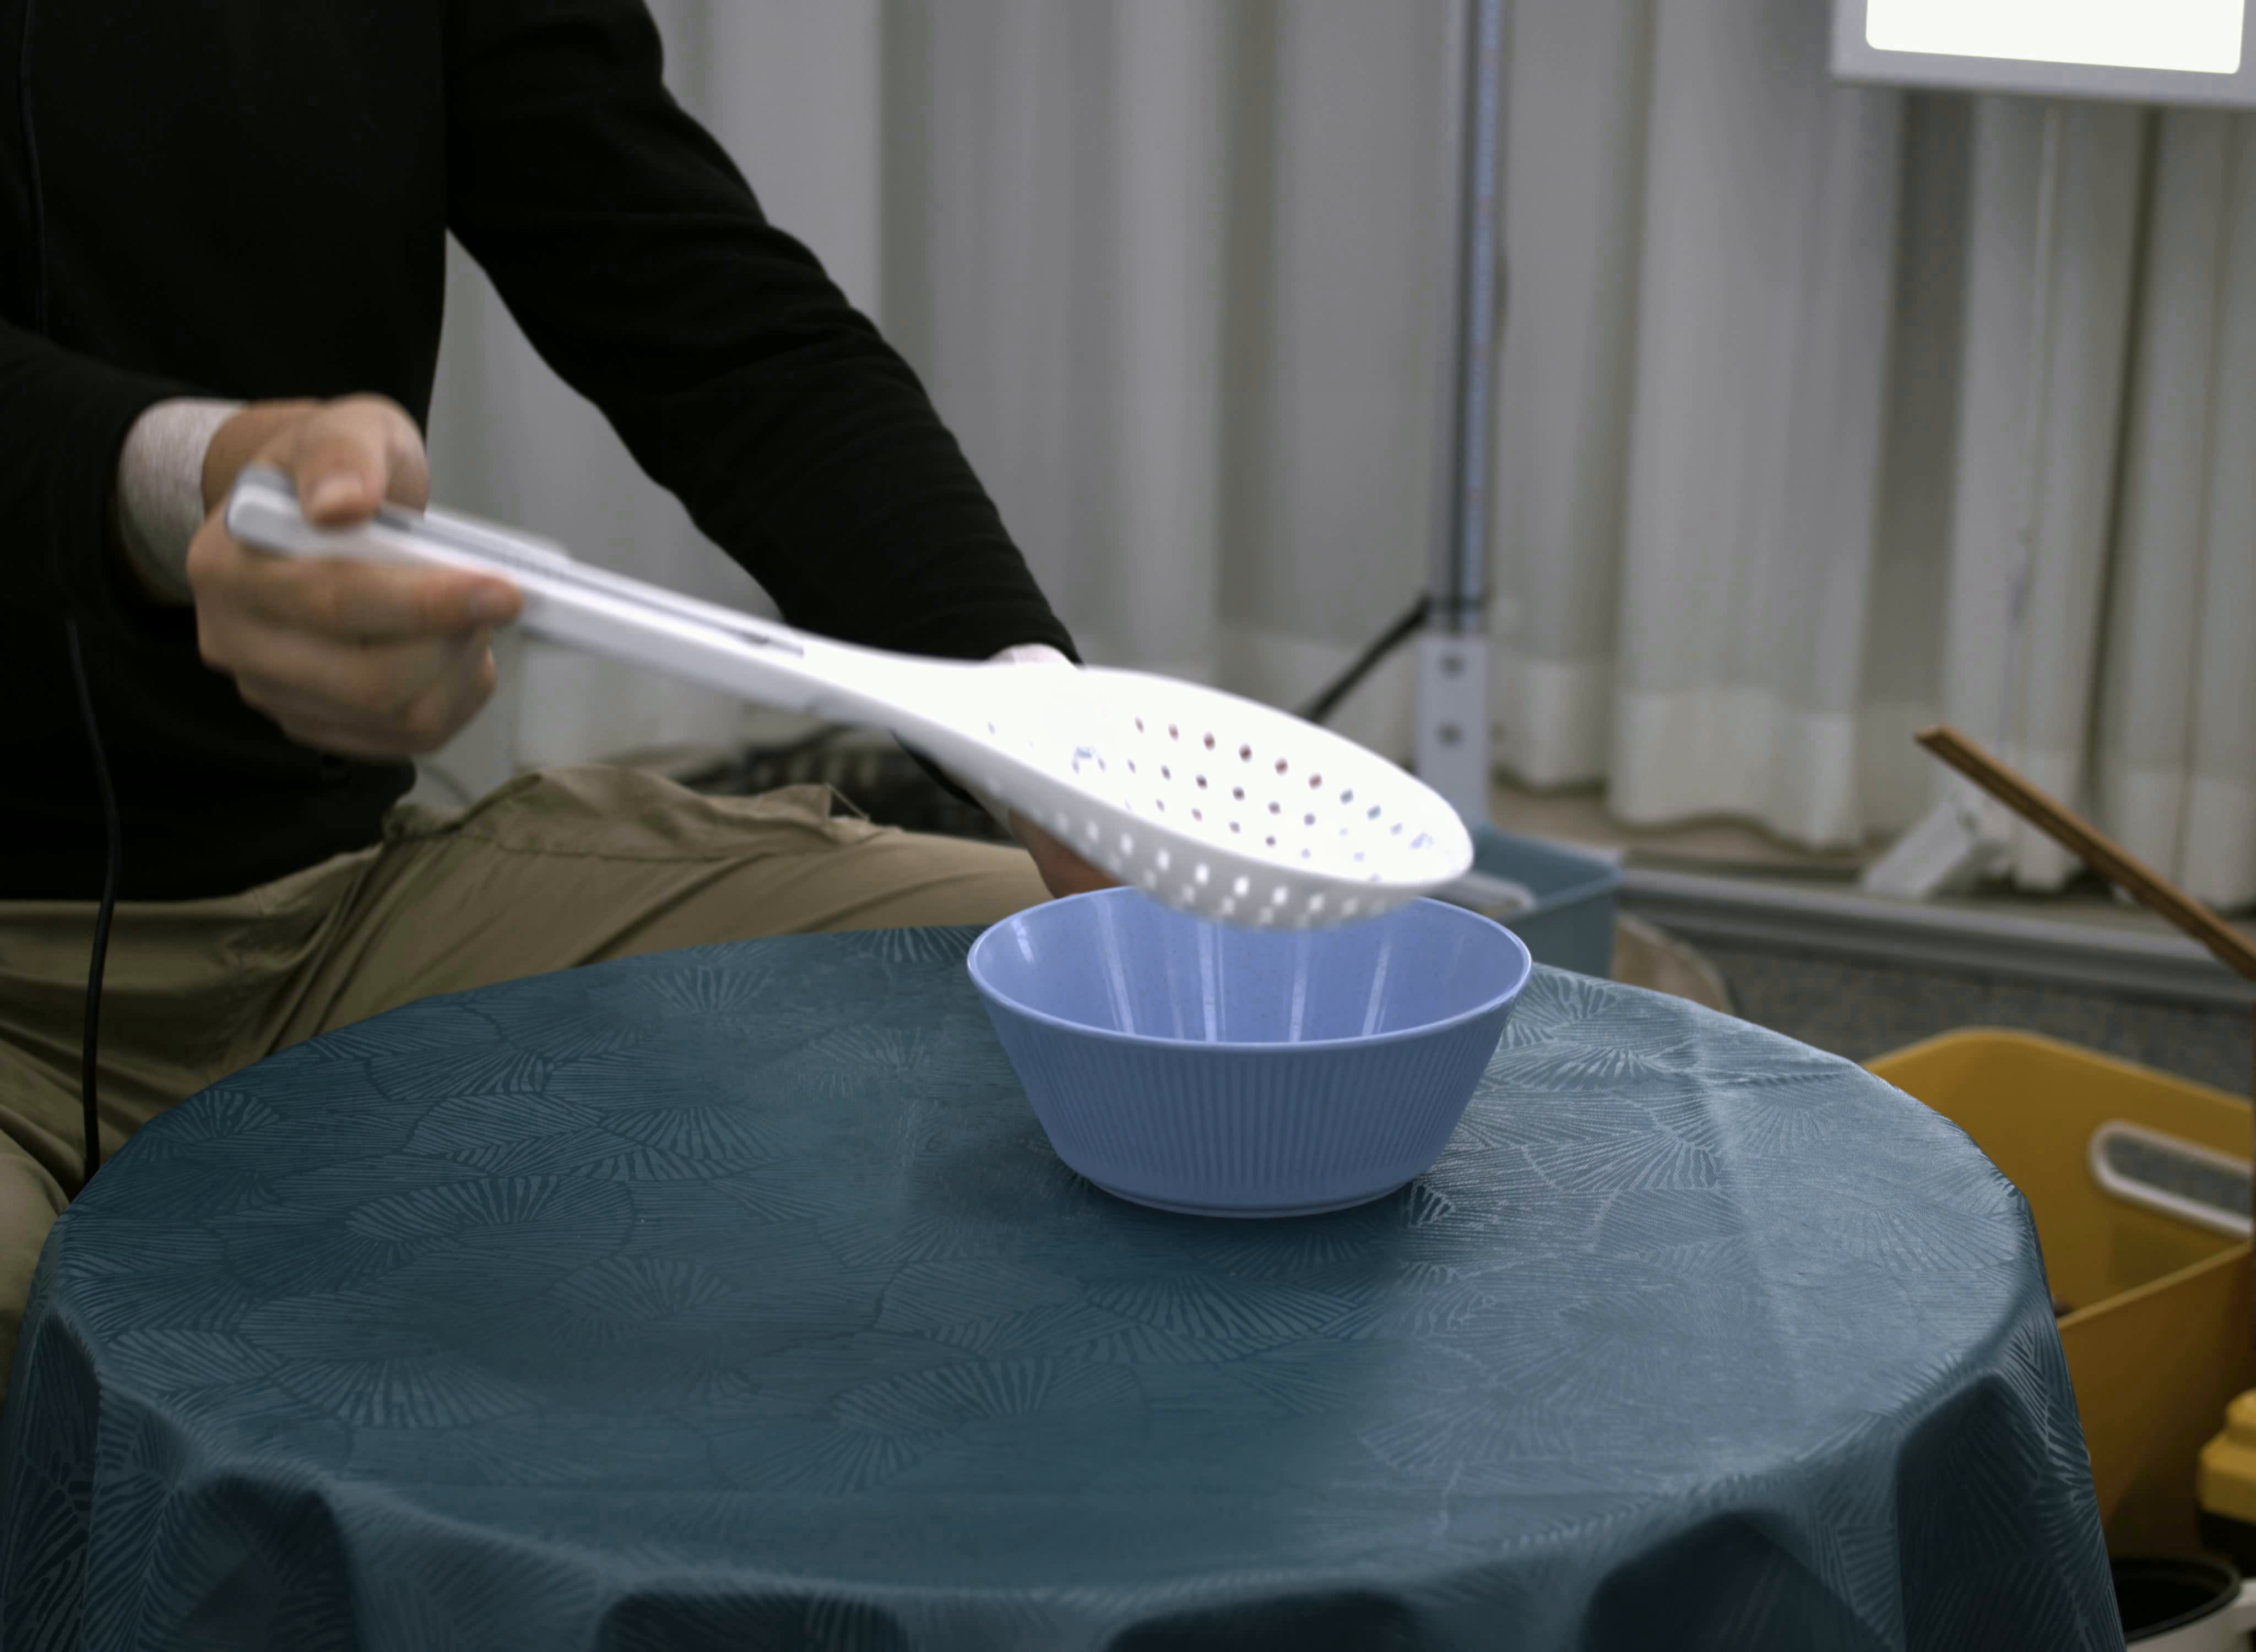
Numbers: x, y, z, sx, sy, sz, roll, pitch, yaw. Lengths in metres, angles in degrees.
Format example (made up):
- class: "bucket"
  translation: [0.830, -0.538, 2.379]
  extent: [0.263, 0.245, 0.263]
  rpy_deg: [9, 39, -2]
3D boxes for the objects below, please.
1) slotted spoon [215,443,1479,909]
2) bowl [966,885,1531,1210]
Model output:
- class: "slotted spoon"
  translation: [-0.073, -0.044, 1.413]
  extent: [0.351, 0.046, 0.135]
  rpy_deg: [21, 18, -12]
- class: "bowl"
  translation: [0.037, 0.071, 1.638]
  extent: [0.175, 0.071, 0.175]
  rpy_deg: [1, 15, 0]
